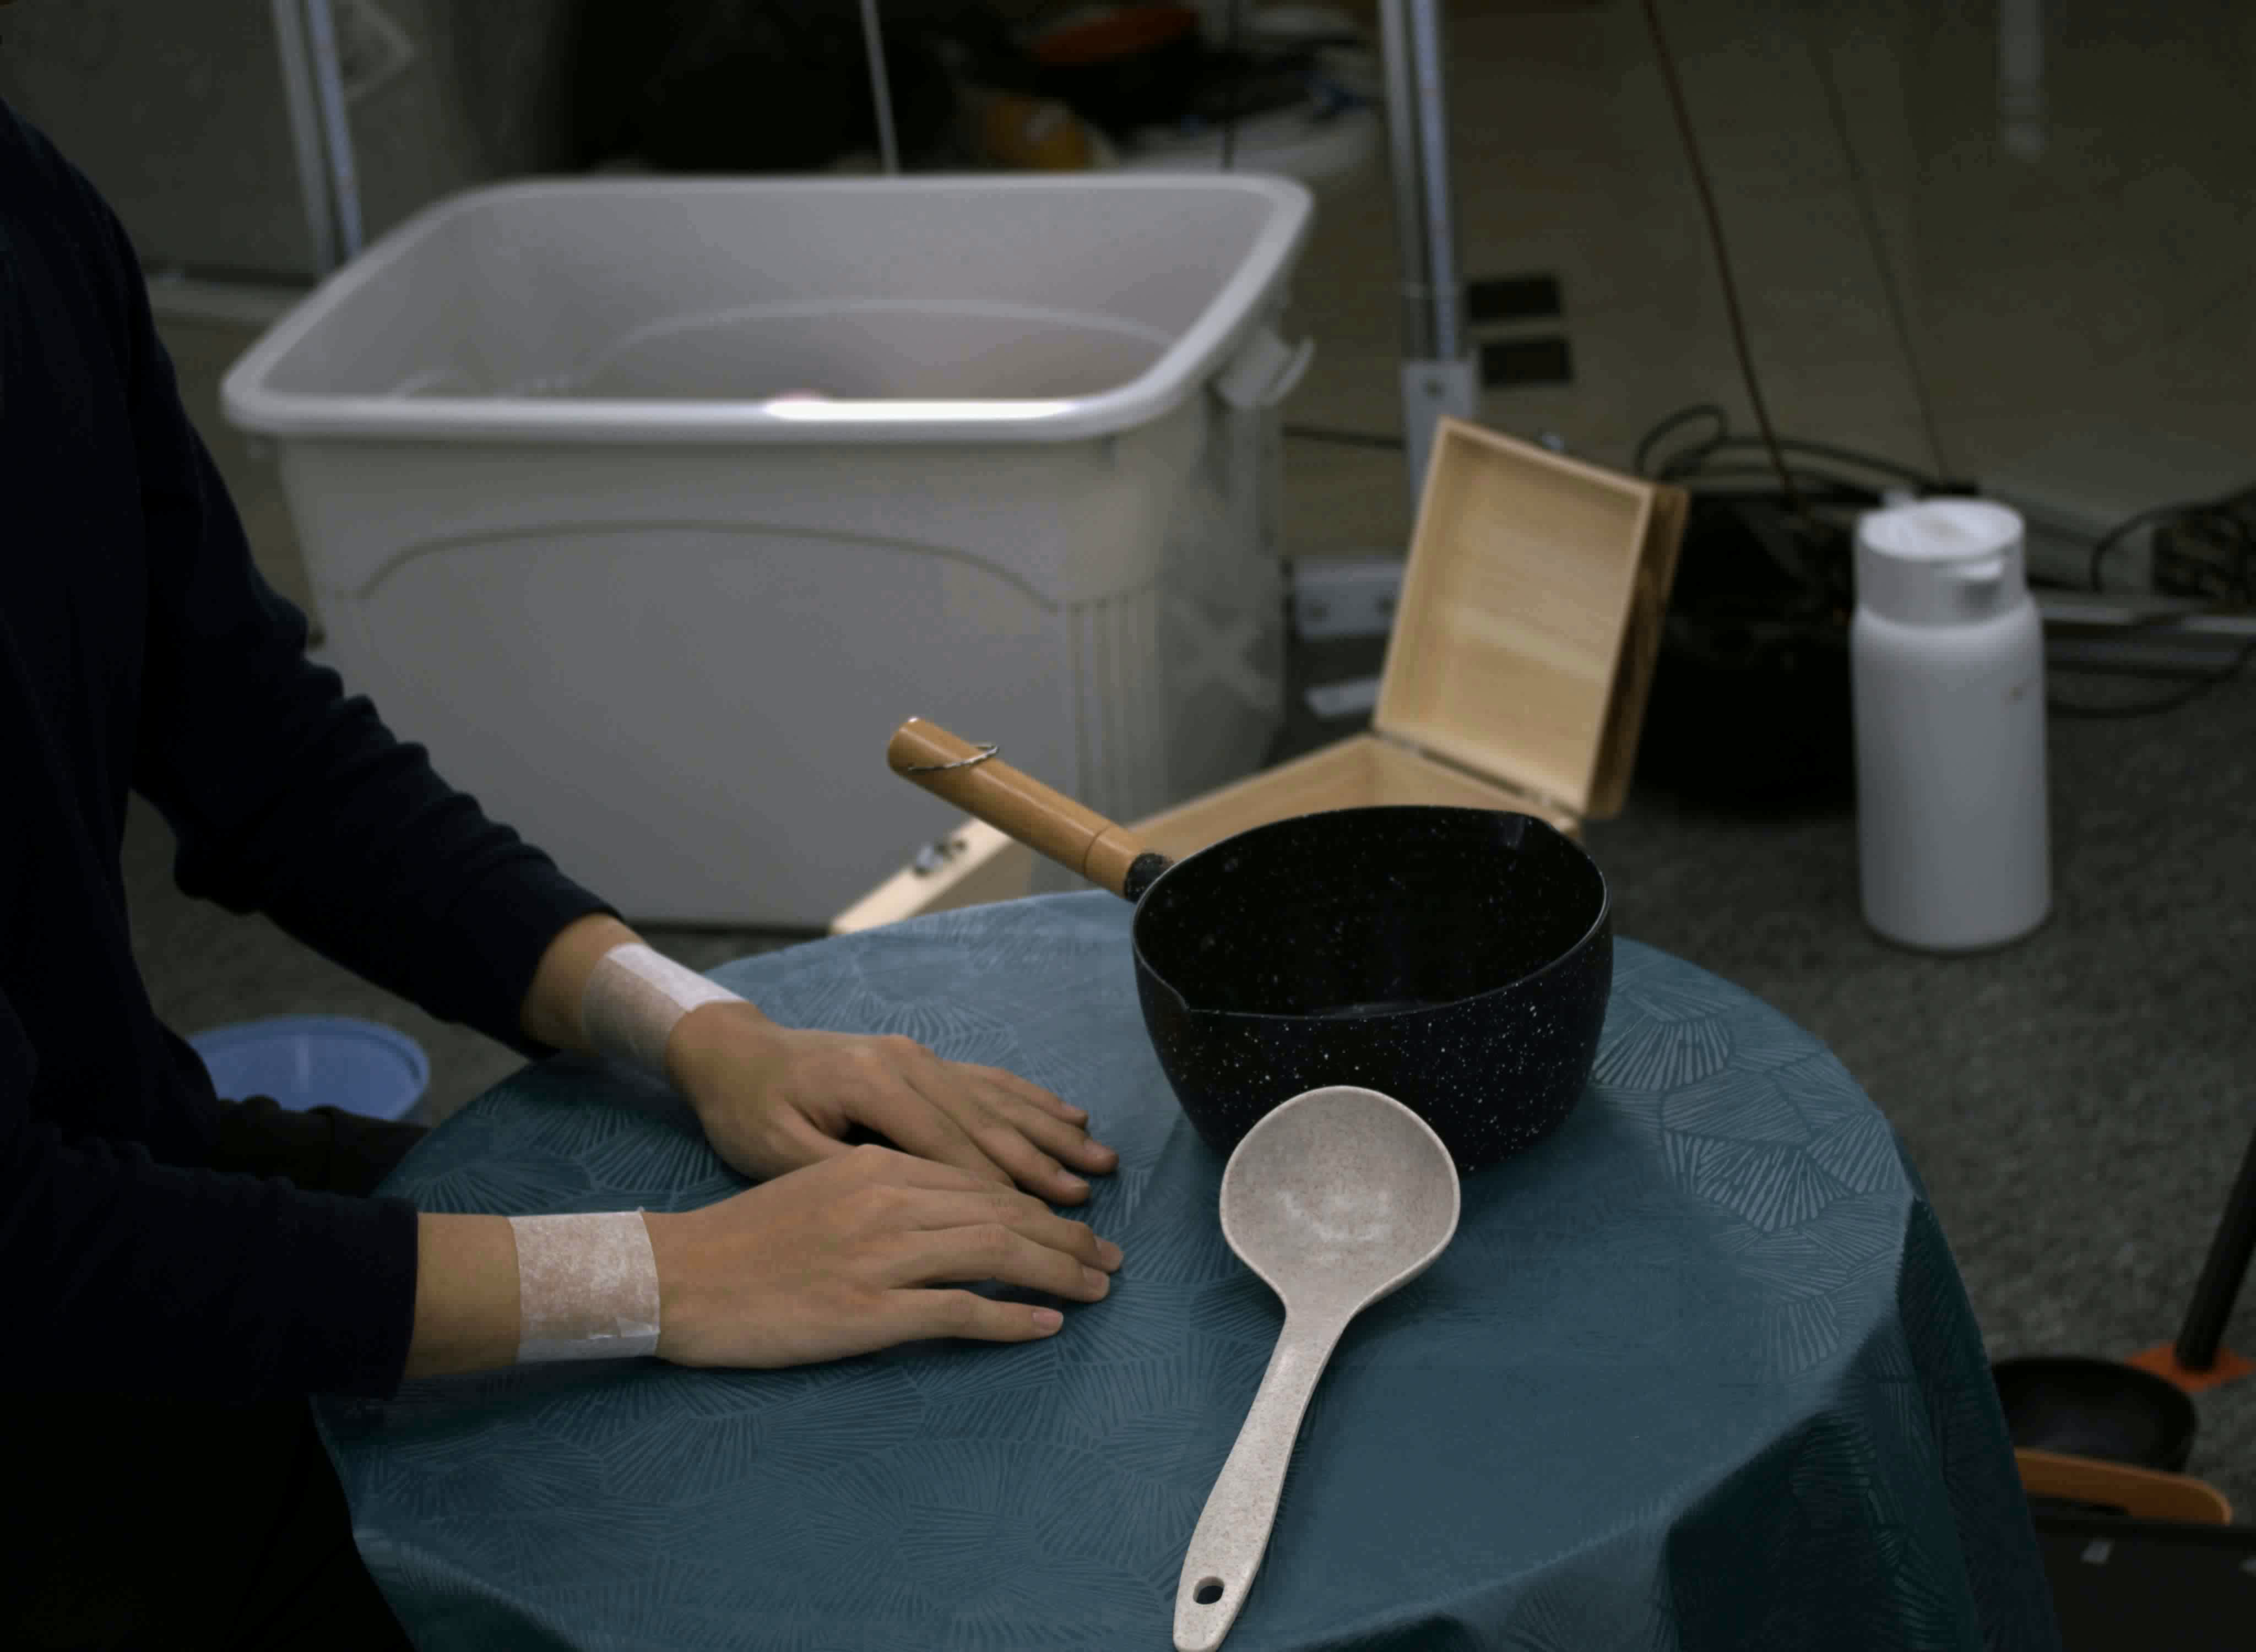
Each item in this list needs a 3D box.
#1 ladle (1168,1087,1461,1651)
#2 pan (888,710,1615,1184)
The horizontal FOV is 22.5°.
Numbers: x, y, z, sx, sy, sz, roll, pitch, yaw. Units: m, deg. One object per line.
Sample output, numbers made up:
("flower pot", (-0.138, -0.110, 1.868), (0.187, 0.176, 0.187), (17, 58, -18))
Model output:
("ladle", (0.051, 0.182, 1.960), (0.089, 0.070, 0.271), (4, 27, 14))
("pan", (0.036, 0.041, 2.217), (0.340, 0.110, 0.205), (17, 35, 38))
